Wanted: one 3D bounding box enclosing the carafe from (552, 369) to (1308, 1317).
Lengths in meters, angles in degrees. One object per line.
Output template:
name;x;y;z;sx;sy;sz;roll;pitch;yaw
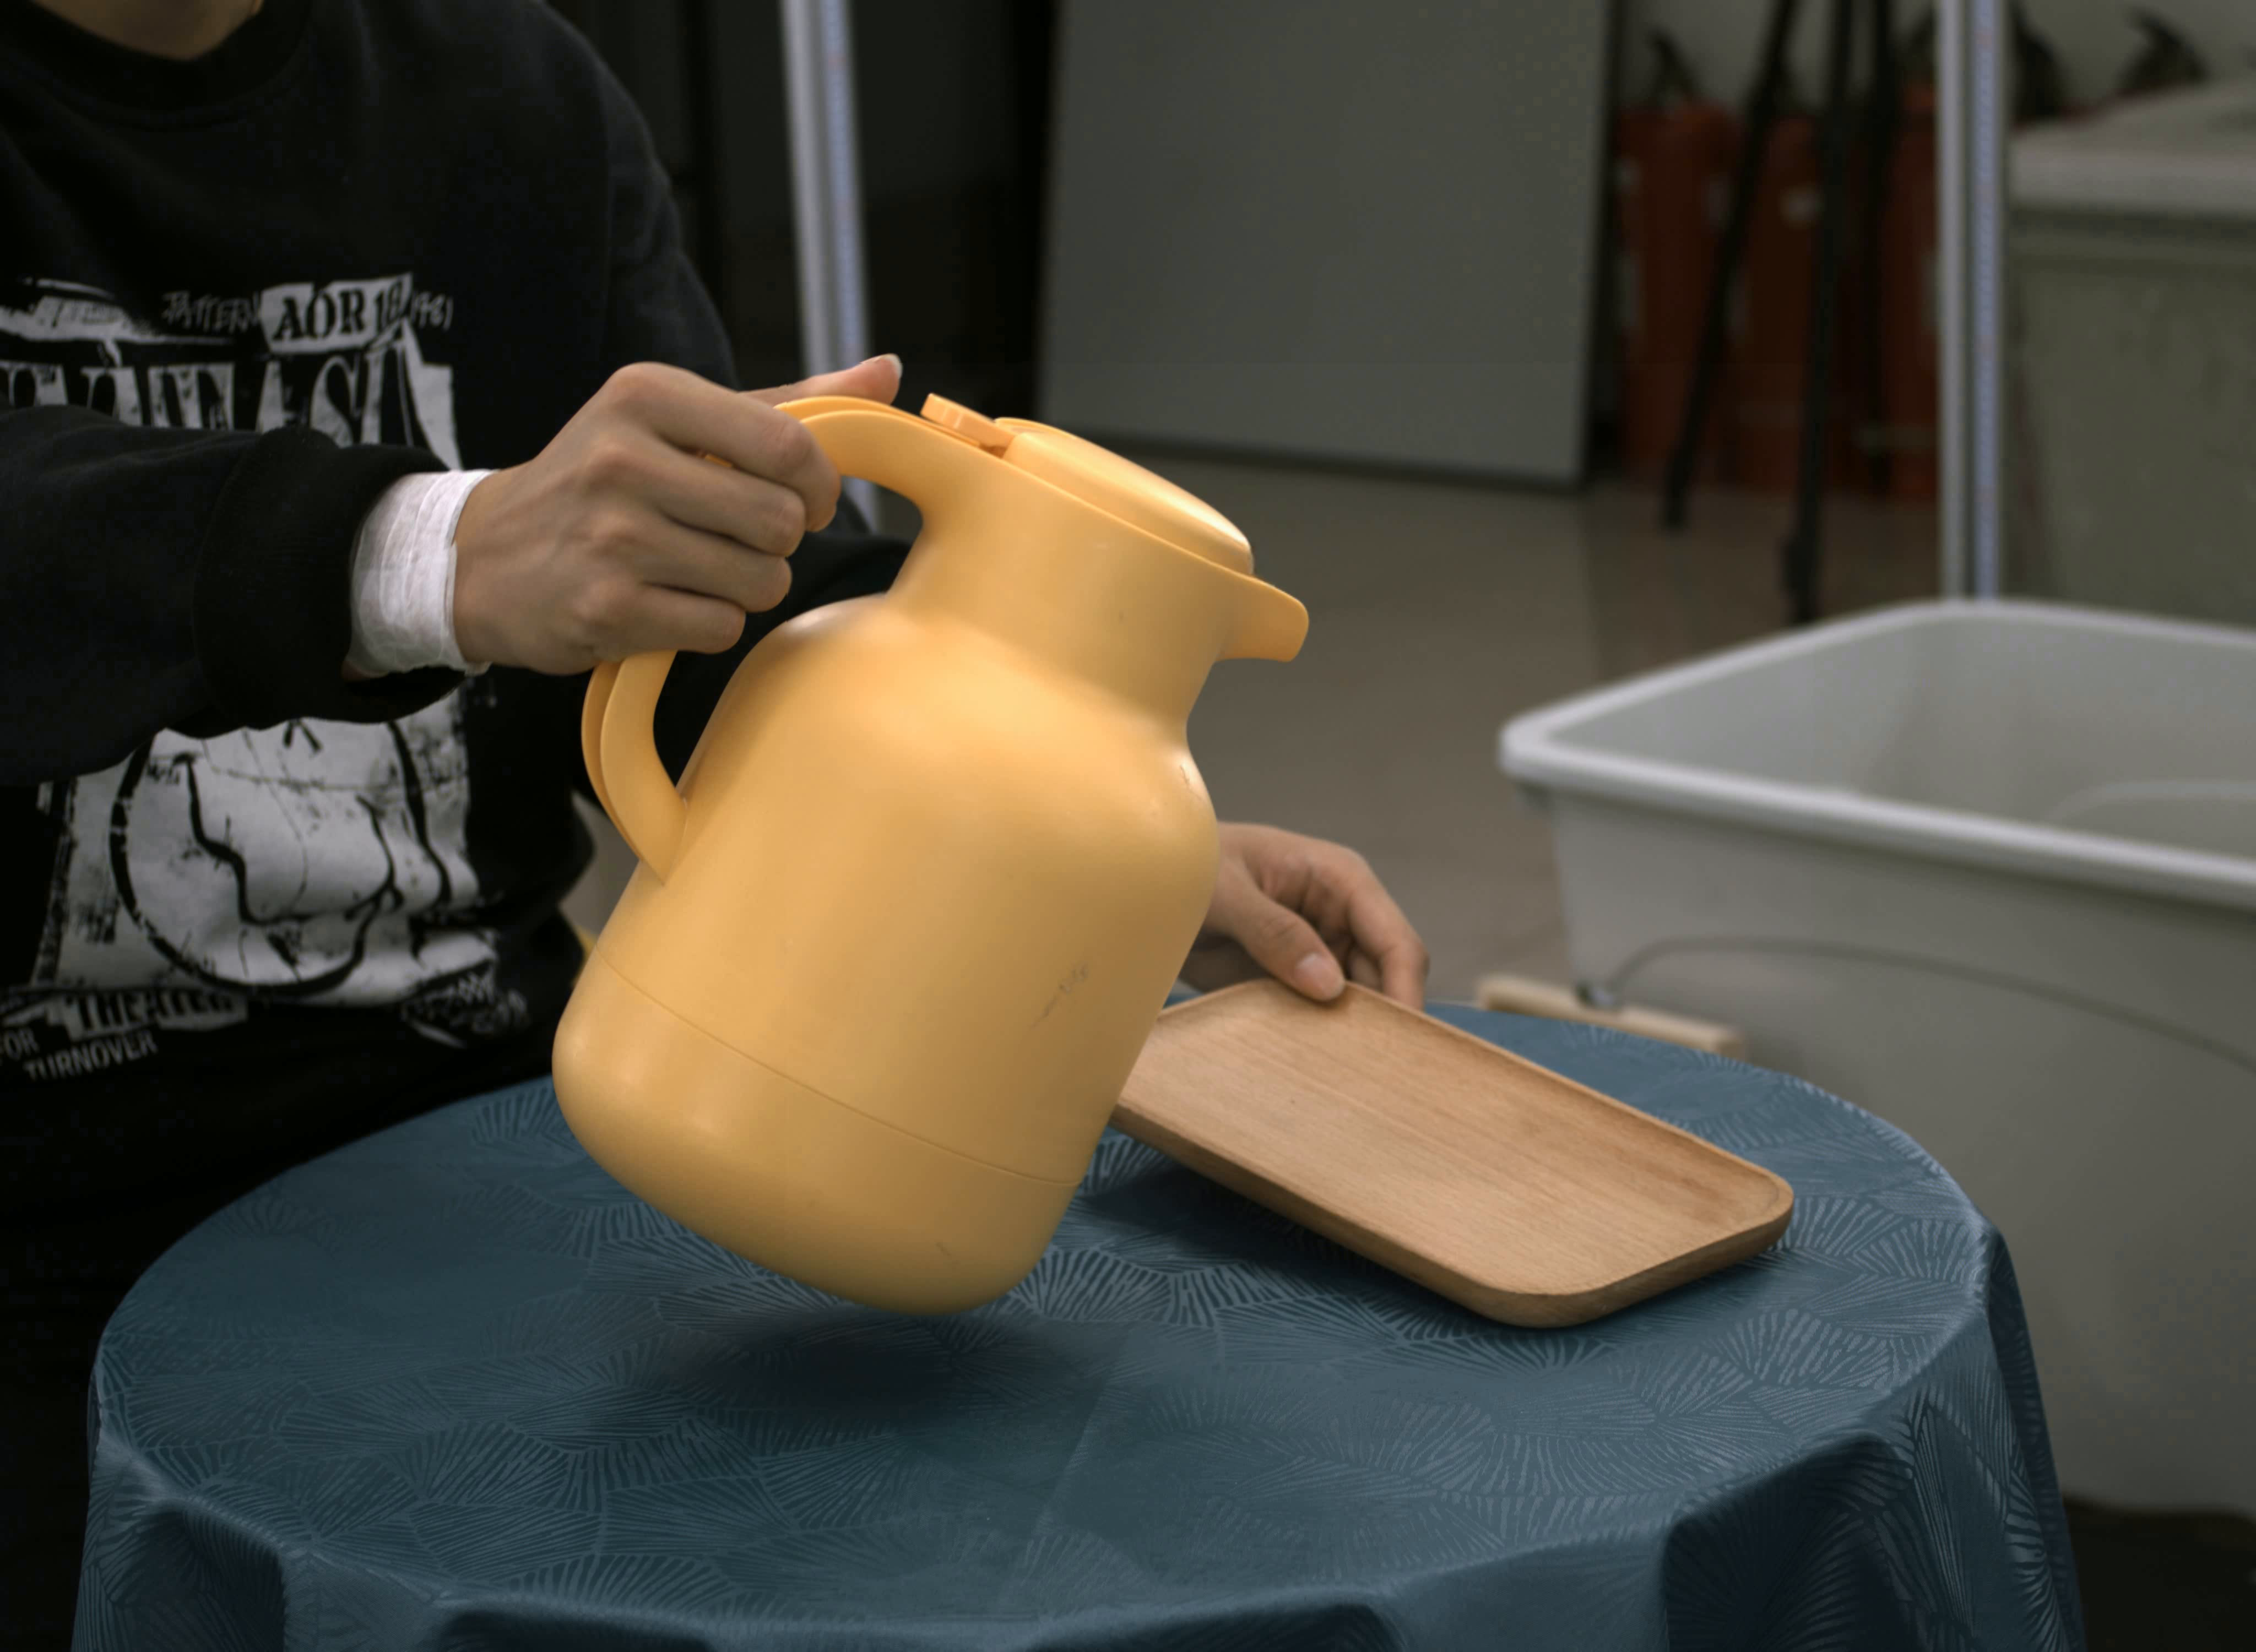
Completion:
carafe;-0.072;-0.004;1.605;0.199;0.262;0.165;25;2;-19

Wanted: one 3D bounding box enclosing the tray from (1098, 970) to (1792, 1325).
tray;0.092;0.100;1.727;0.128;0.023;0.253;-14;23;-34
